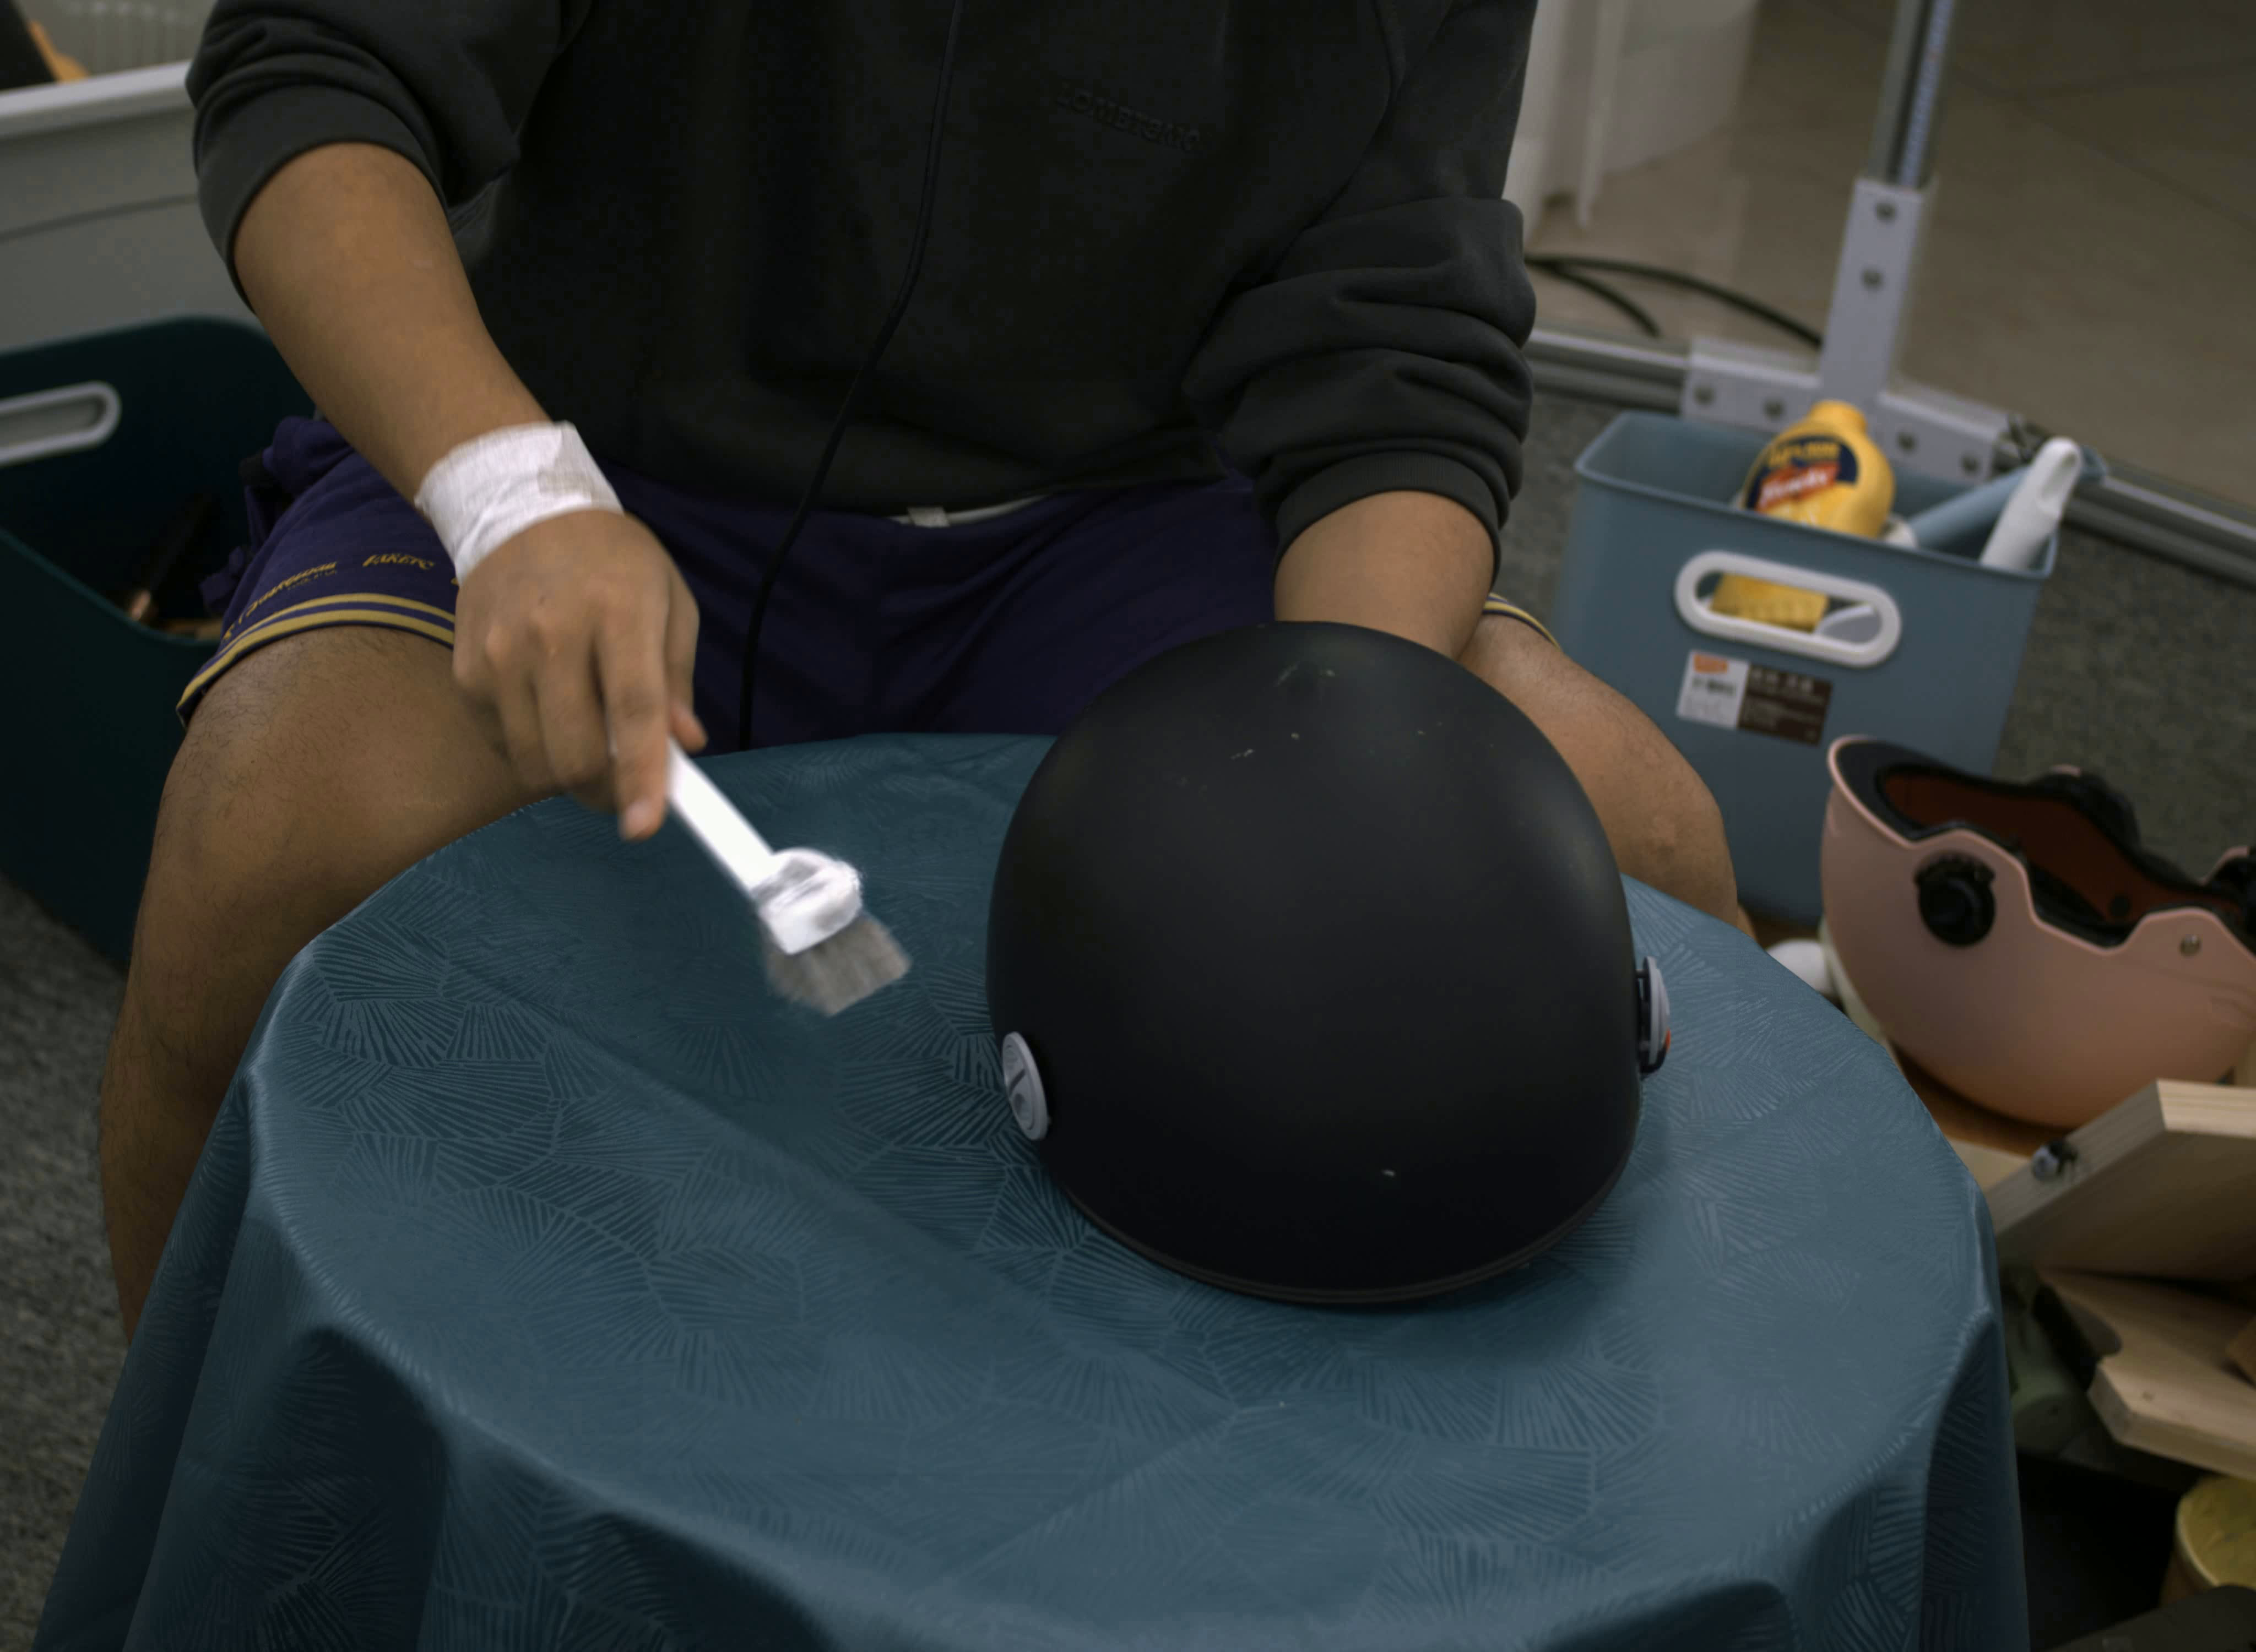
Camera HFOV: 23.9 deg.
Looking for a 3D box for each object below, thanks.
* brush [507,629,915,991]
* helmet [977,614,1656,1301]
[{"bbox_3d":[-0.142,-0.005,1.781,0.034,0.050,0.246,-33,36,-17],"label":"brush"},{"bbox_3d":[0.061,0.025,1.821,0.229,0.166,0.275,-6,31,-5],"label":"helmet"}]
